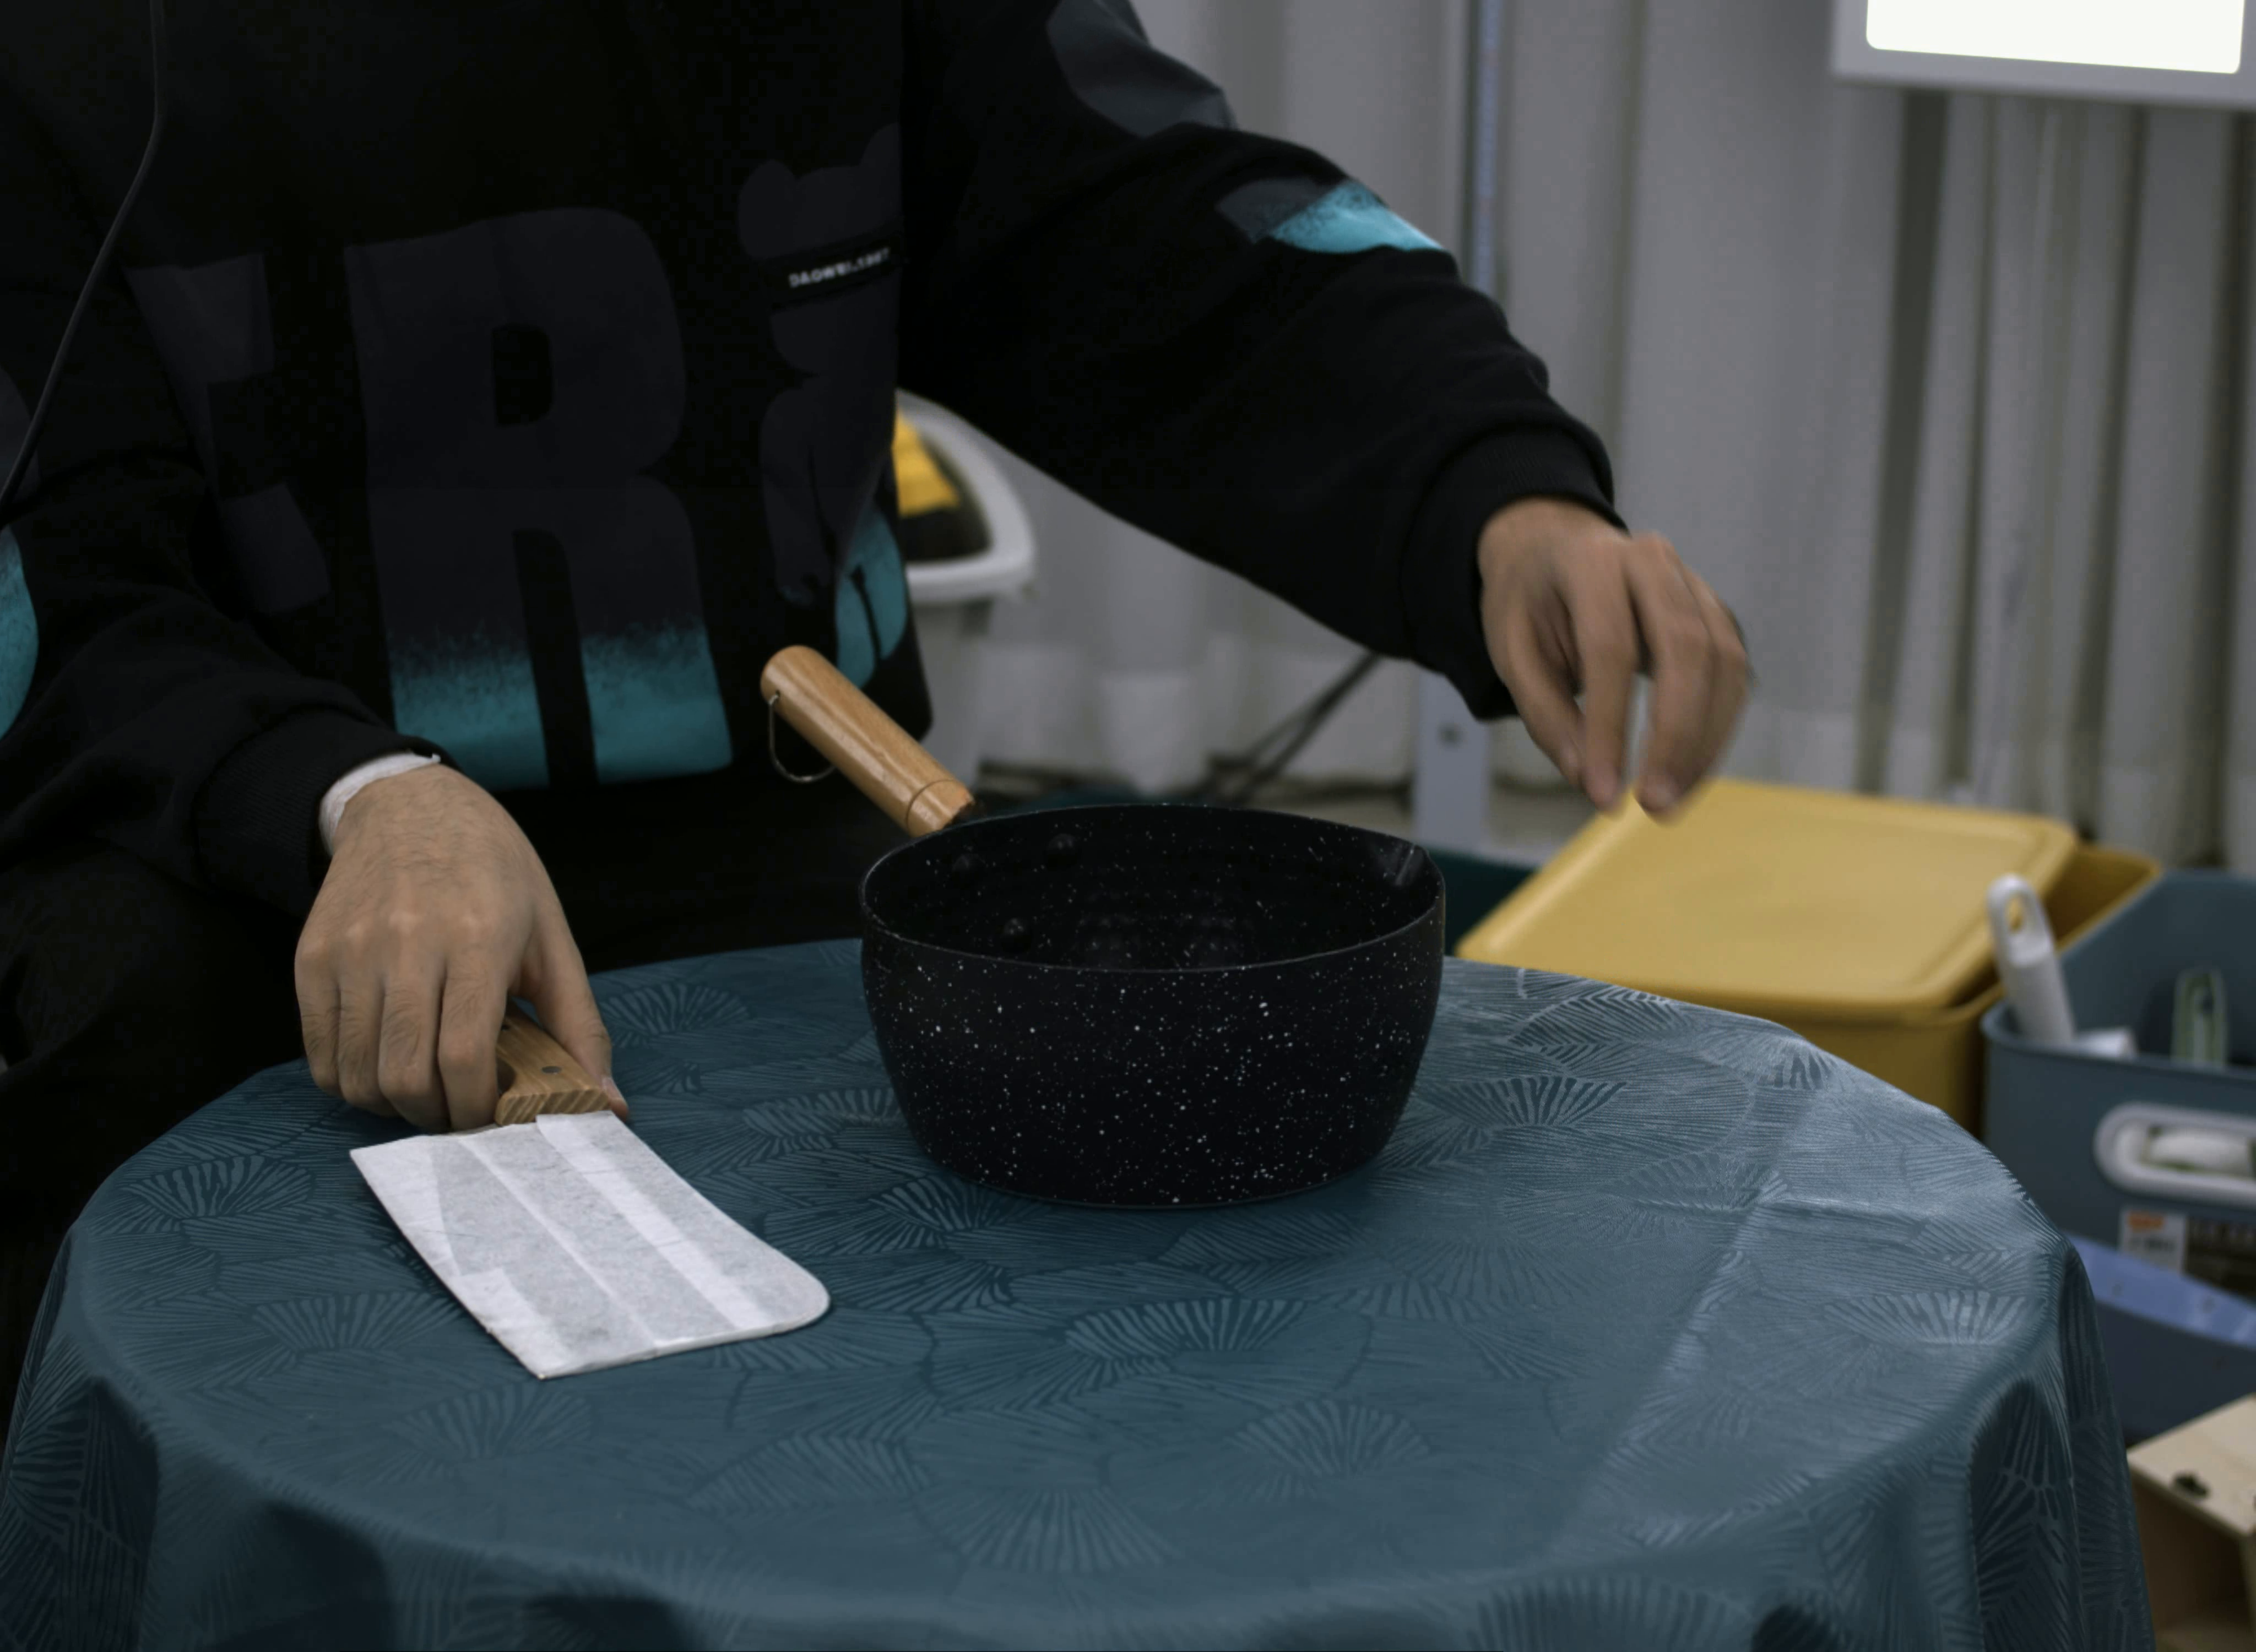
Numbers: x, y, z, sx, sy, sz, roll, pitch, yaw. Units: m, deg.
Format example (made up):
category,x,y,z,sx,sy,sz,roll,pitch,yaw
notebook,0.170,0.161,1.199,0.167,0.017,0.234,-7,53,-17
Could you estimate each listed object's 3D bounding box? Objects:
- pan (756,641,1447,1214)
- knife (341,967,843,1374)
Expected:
category,x,y,z,sx,sy,sz,roll,pitch,yaw
pan,-0.035,0.028,1.720,0.208,0.109,0.338,-10,20,-32
knife,-0.181,0.103,1.618,0.114,0.022,0.311,-6,20,-21
